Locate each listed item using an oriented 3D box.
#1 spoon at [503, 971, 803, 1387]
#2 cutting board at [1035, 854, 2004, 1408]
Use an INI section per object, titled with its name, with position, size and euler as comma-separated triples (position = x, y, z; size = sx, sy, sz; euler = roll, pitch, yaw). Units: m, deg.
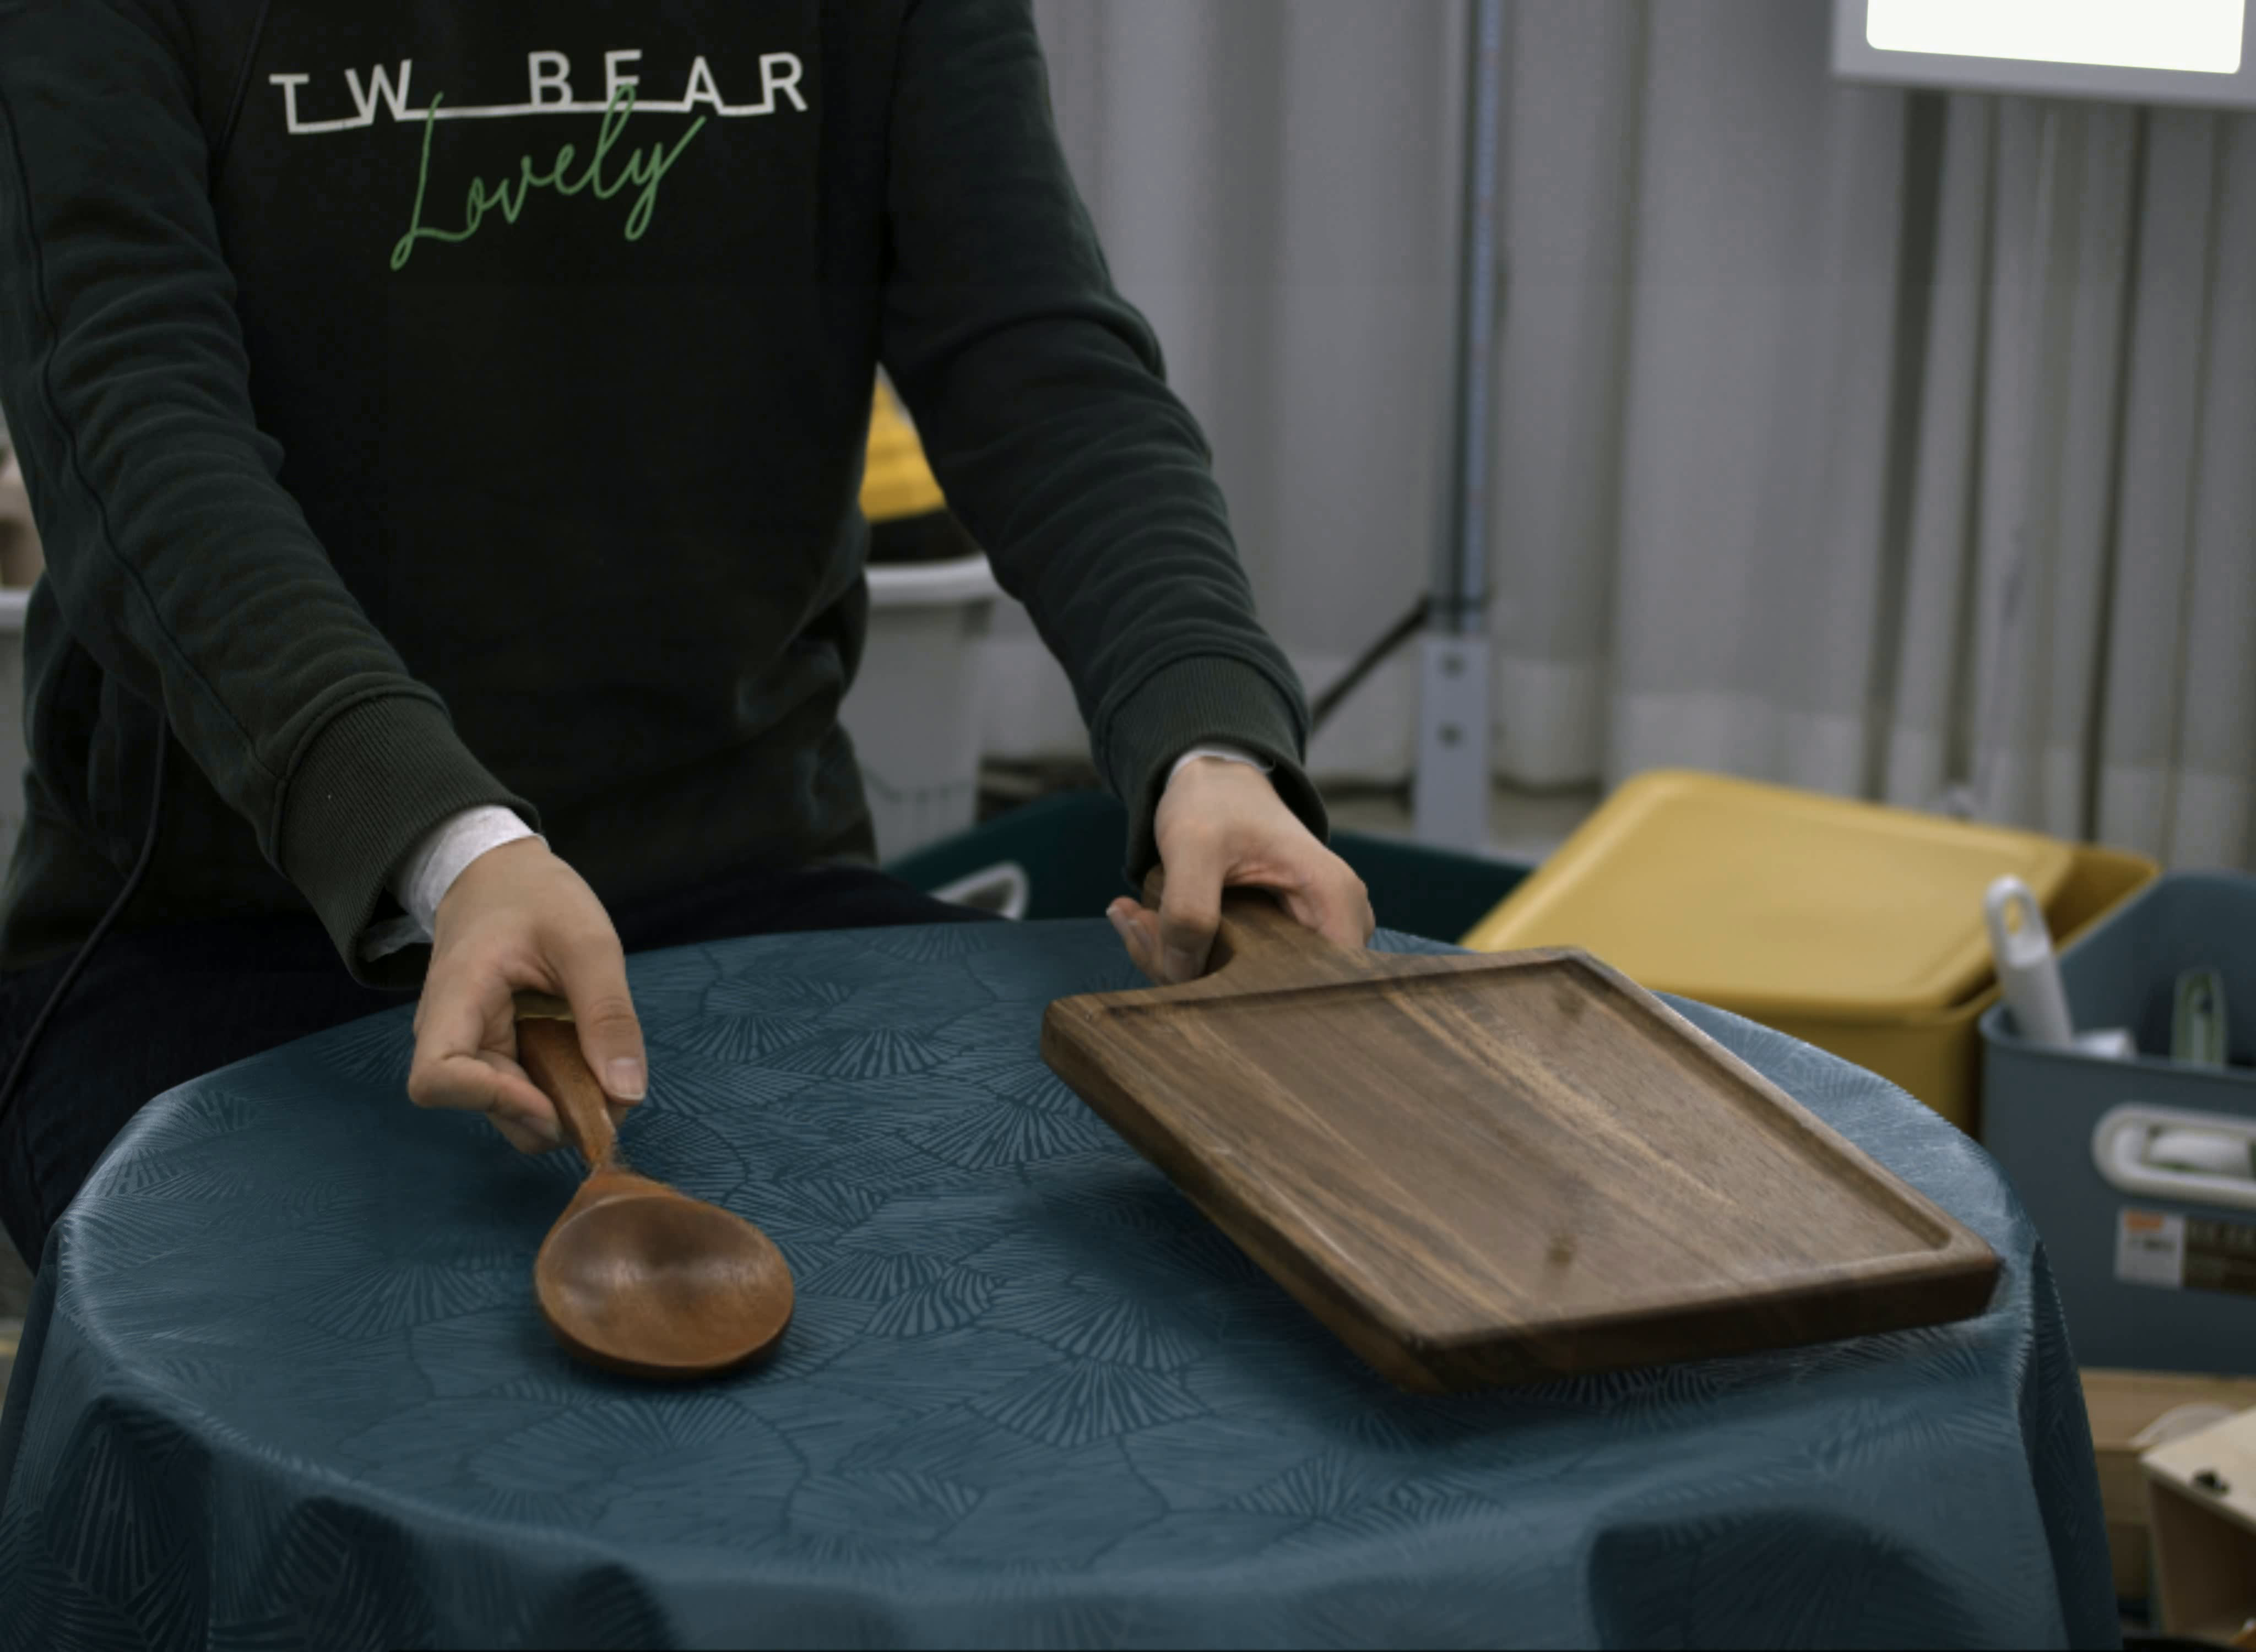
[spoon]
position = -0.150, 0.103, 1.548
size = 0.075, 0.017, 0.213
euler = -8, 33, -17
[cutting board]
position = 0.090, 0.080, 1.602
size = 0.202, 0.023, 0.347
euler = -6, 23, -26
